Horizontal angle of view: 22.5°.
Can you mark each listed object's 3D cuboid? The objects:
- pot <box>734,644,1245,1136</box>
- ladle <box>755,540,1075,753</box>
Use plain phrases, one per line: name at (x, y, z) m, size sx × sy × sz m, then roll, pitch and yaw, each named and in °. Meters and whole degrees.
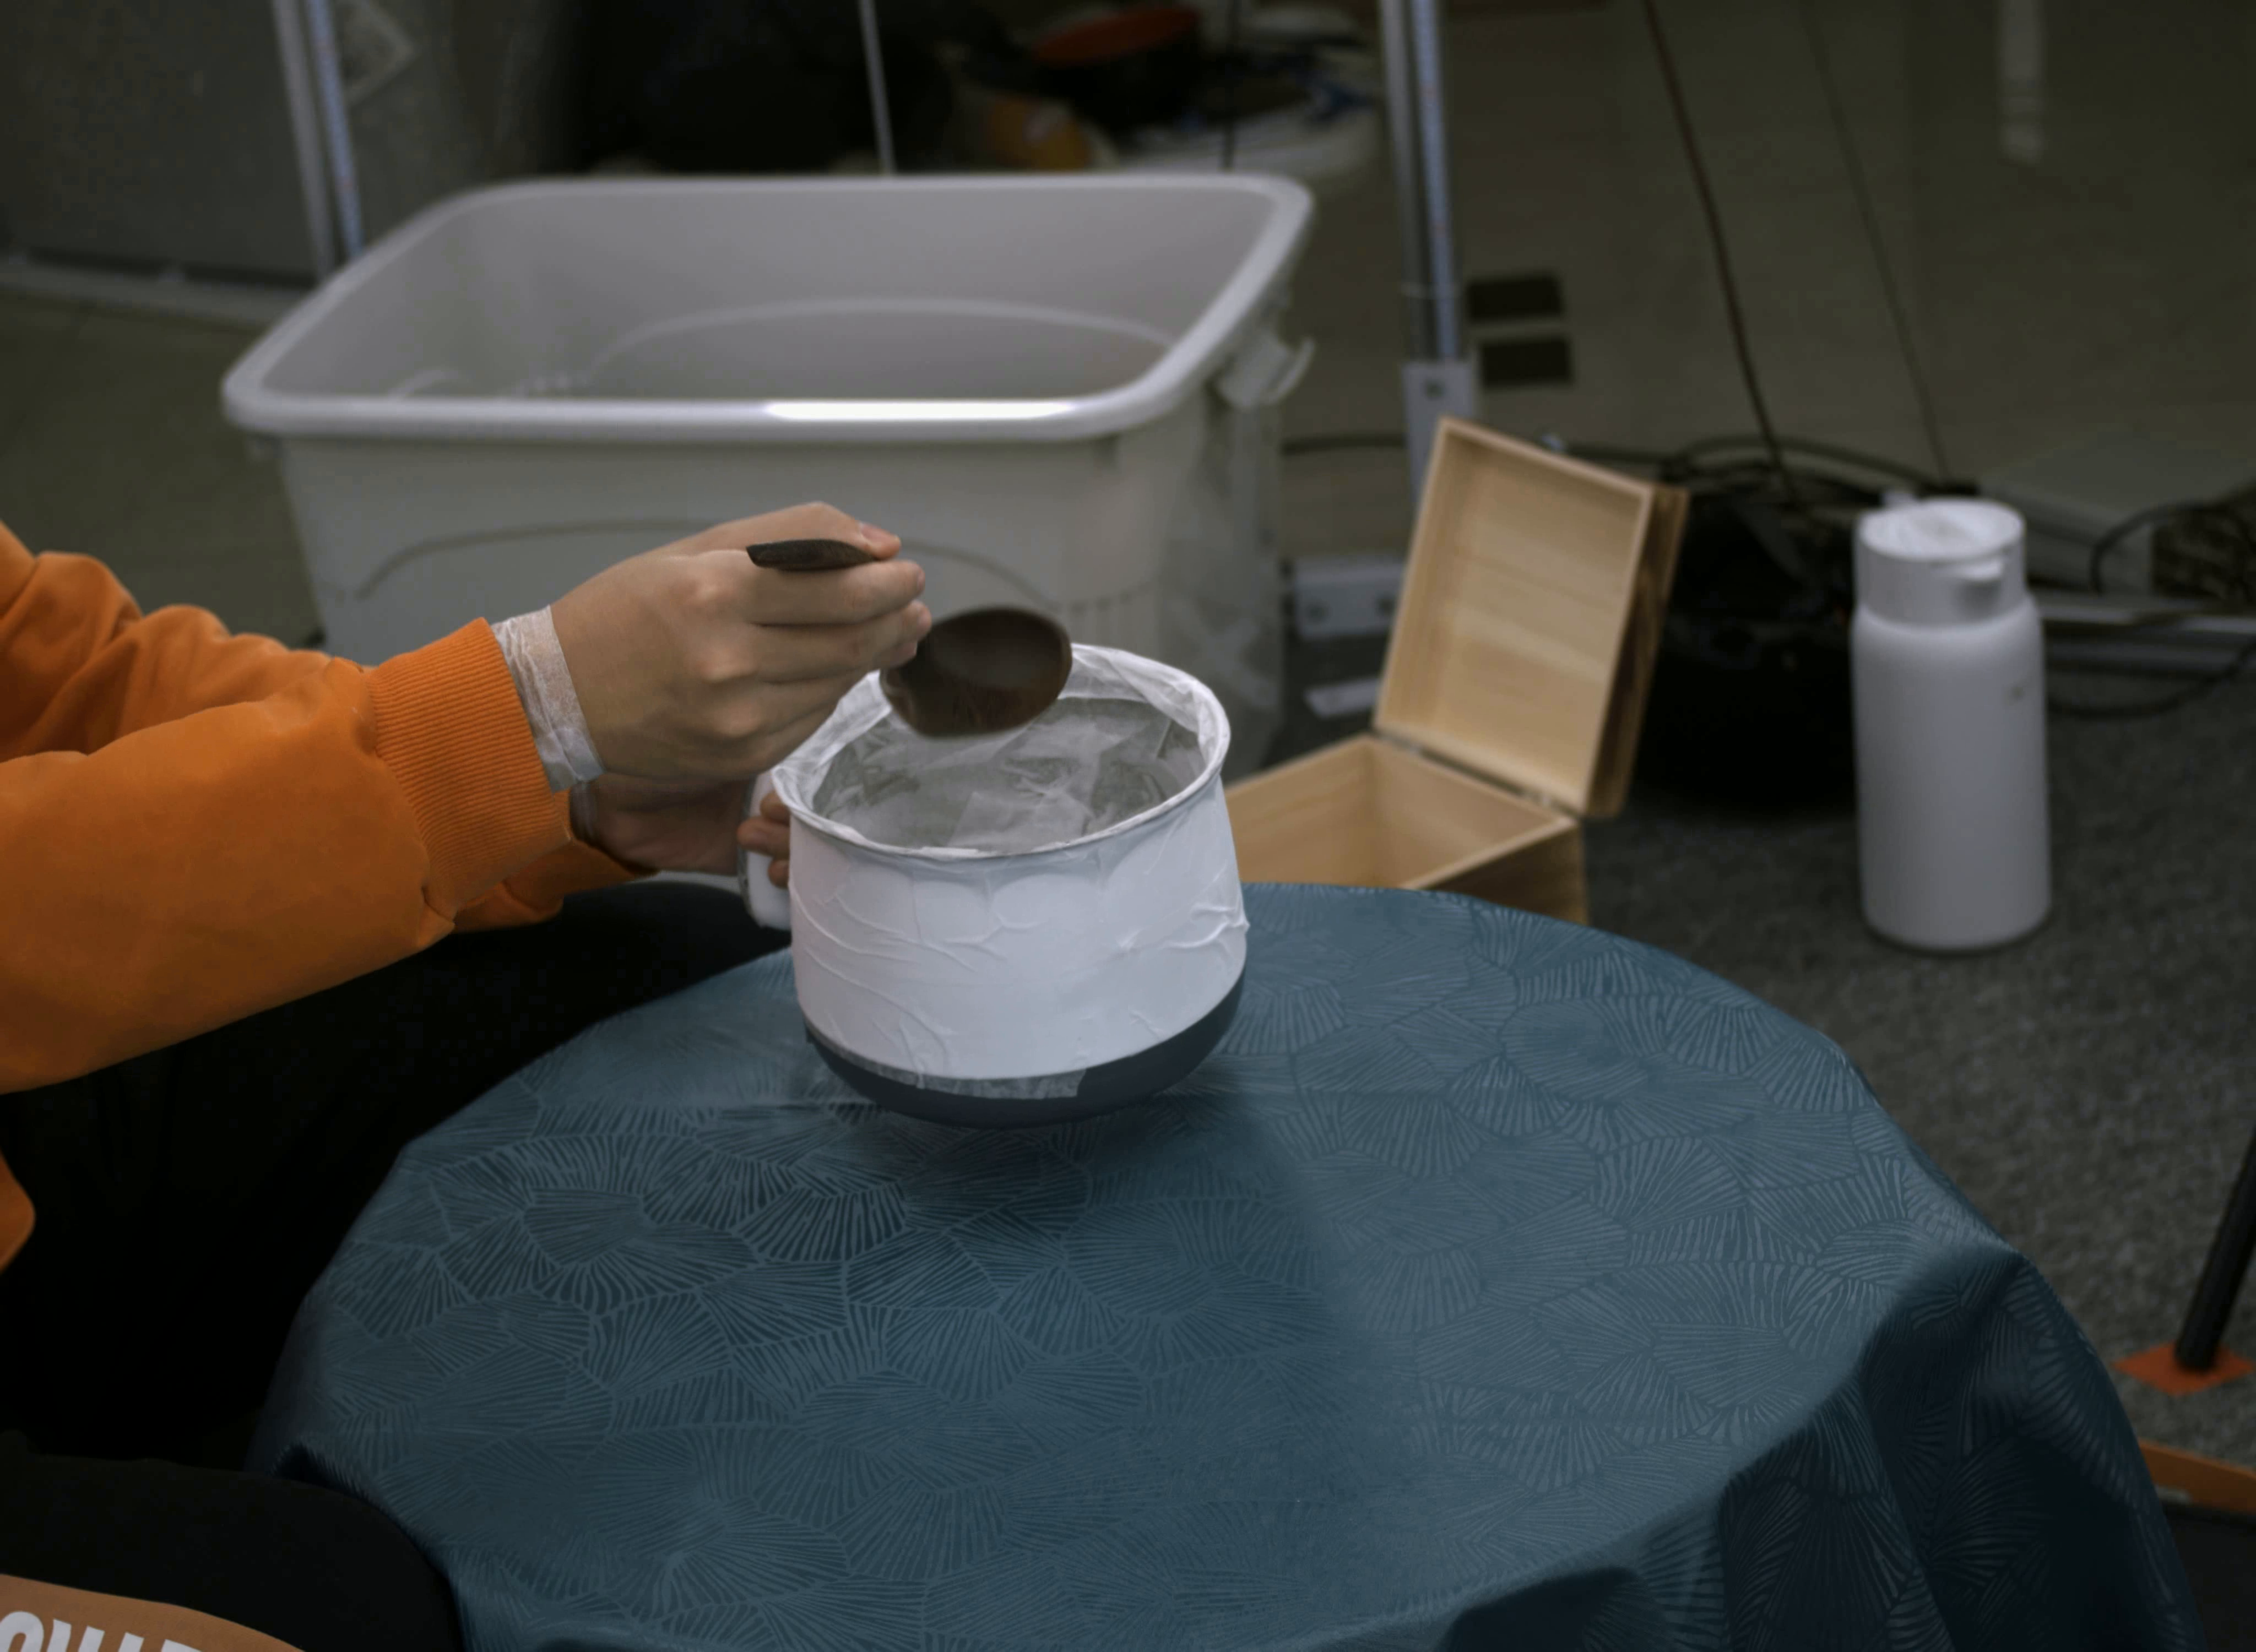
pot at (-0.066, 0.019, 2.205) m, size 0.232 × 0.139 × 0.177 m, roll 19°, pitch 36°, yaw 36°
ladle at (-0.082, -0.085, 2.030) m, size 0.076 × 0.070 × 0.277 m, roll -7°, pitch -18°, yaw 13°
